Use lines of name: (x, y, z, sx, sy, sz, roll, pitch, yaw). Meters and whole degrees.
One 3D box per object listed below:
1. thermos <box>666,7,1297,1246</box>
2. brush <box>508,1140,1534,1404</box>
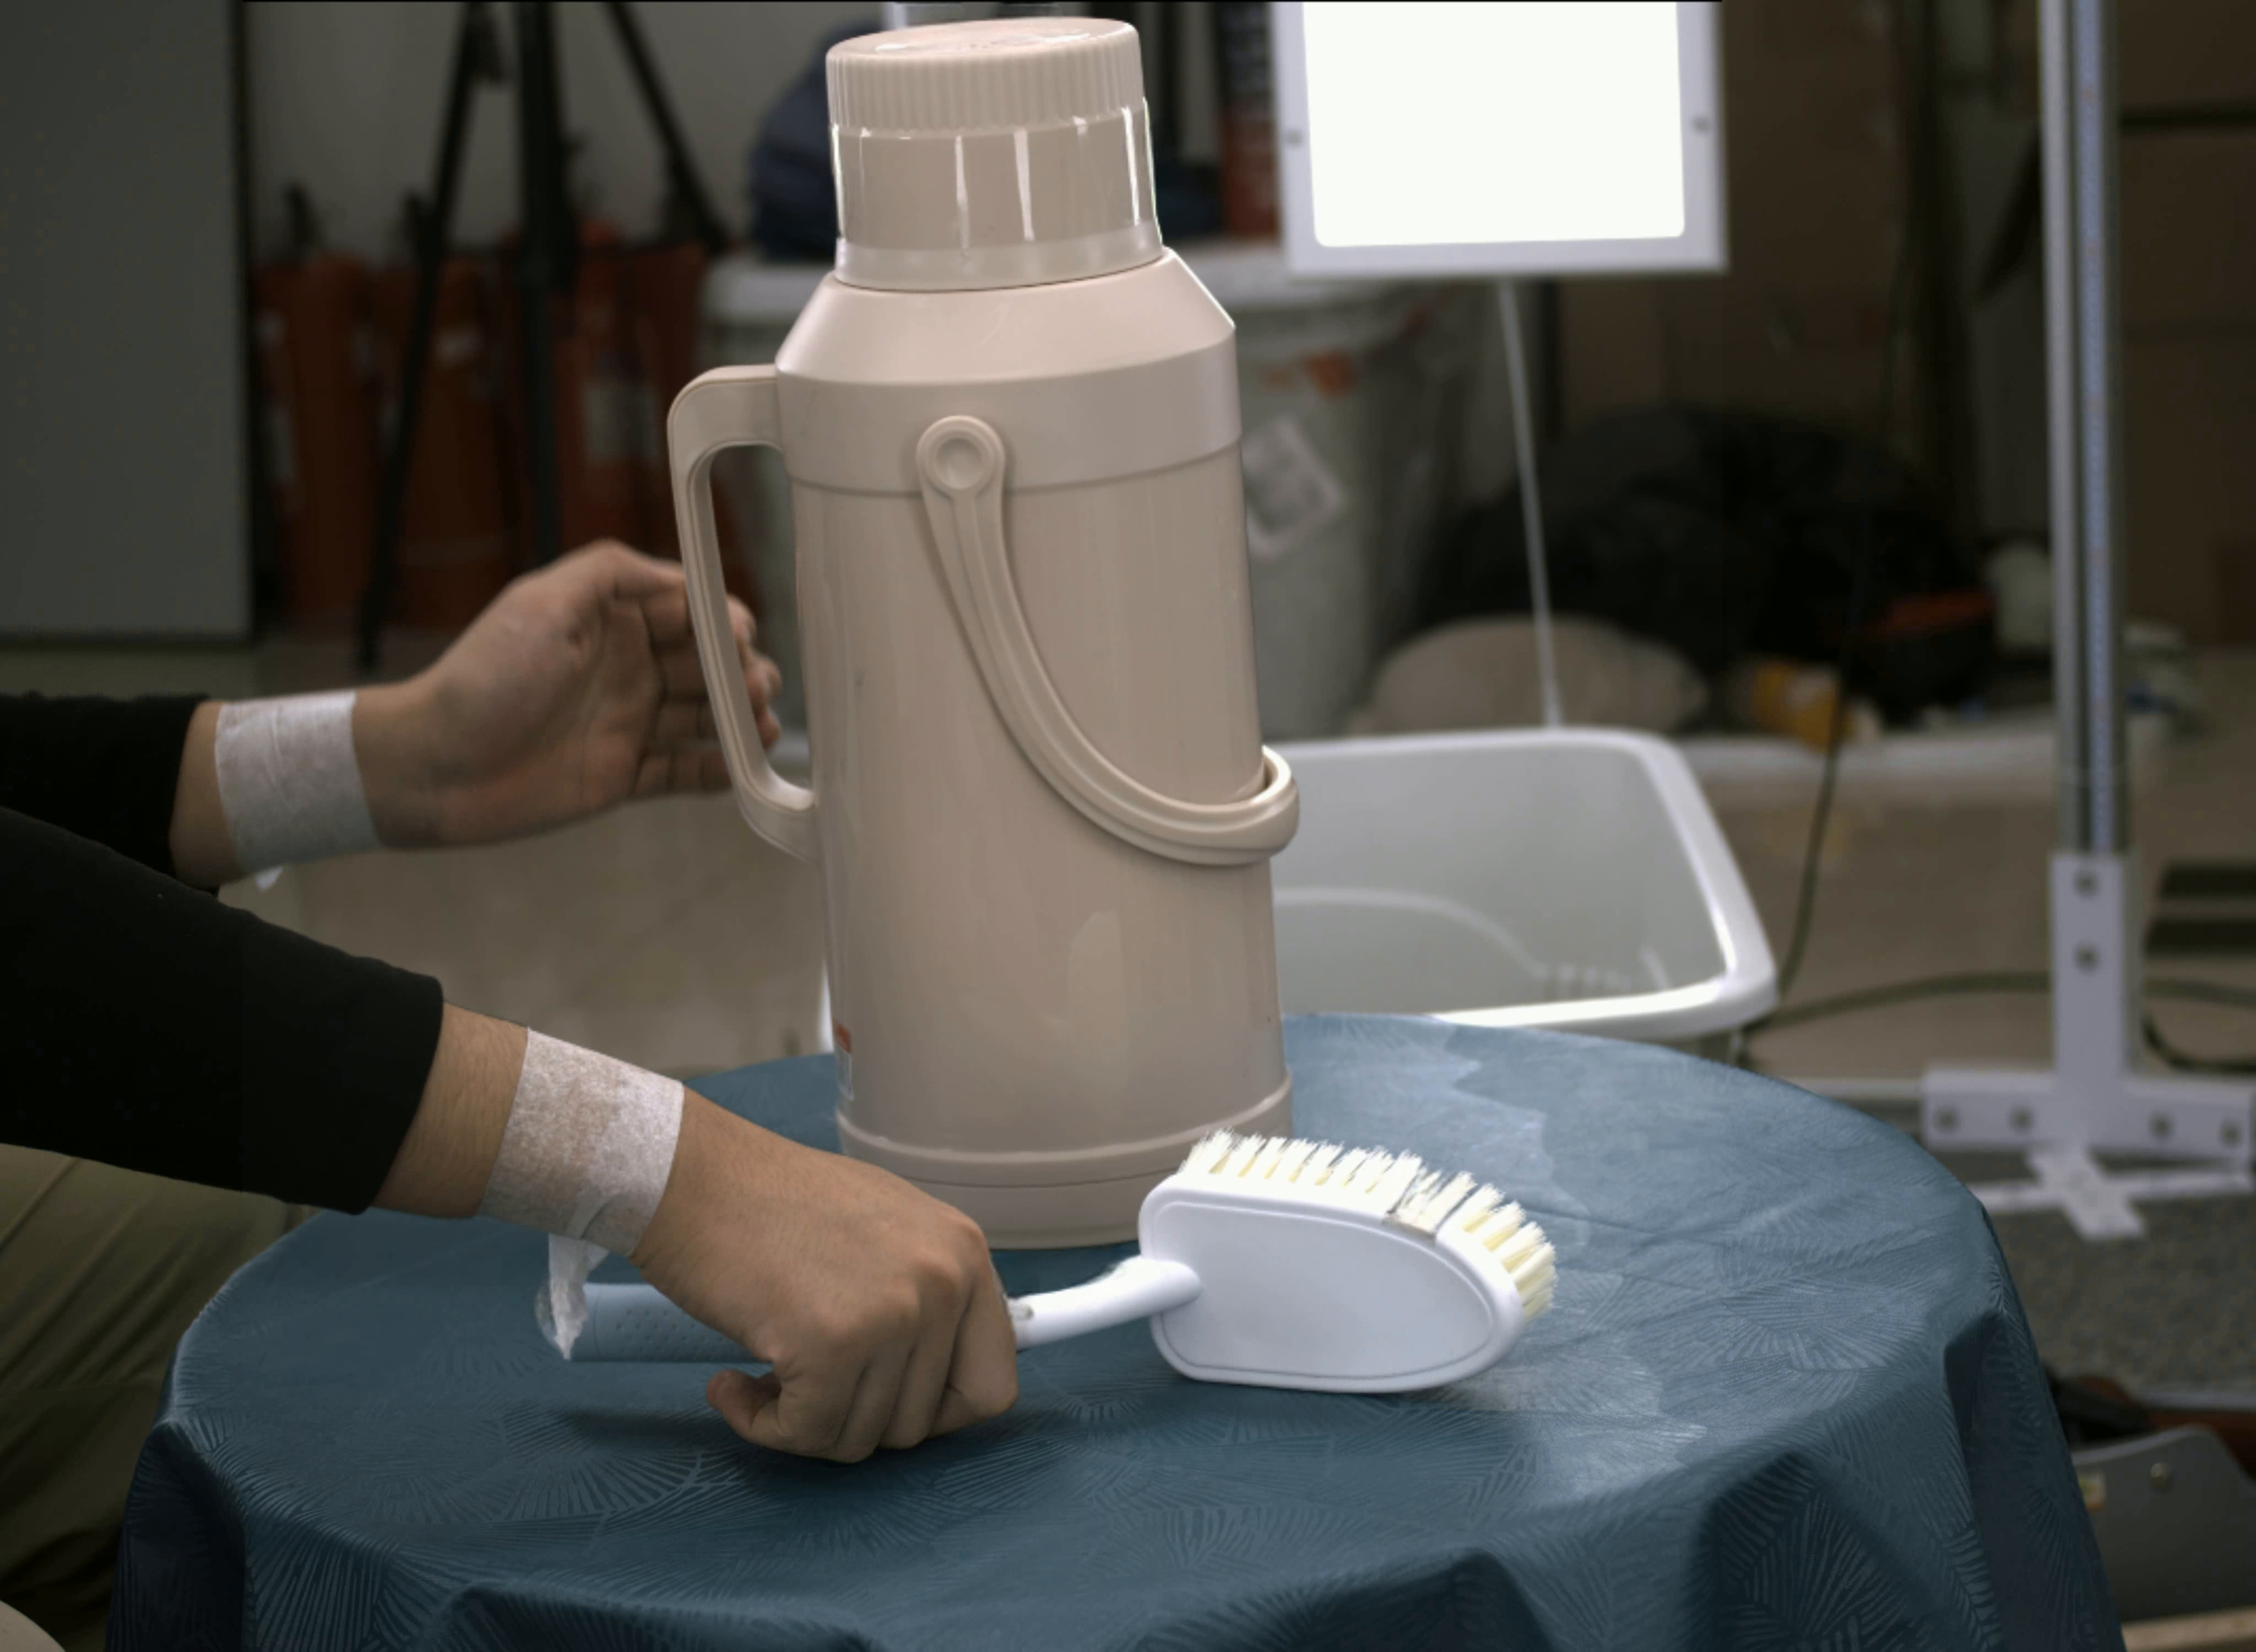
thermos: (-0.049, -0.069, 1.878, 0.208, 0.408, 0.173, -1, 16, 11)
brush: (-0.032, 0.137, 1.713, 0.329, 0.083, 0.084, -1, -21, 18)
